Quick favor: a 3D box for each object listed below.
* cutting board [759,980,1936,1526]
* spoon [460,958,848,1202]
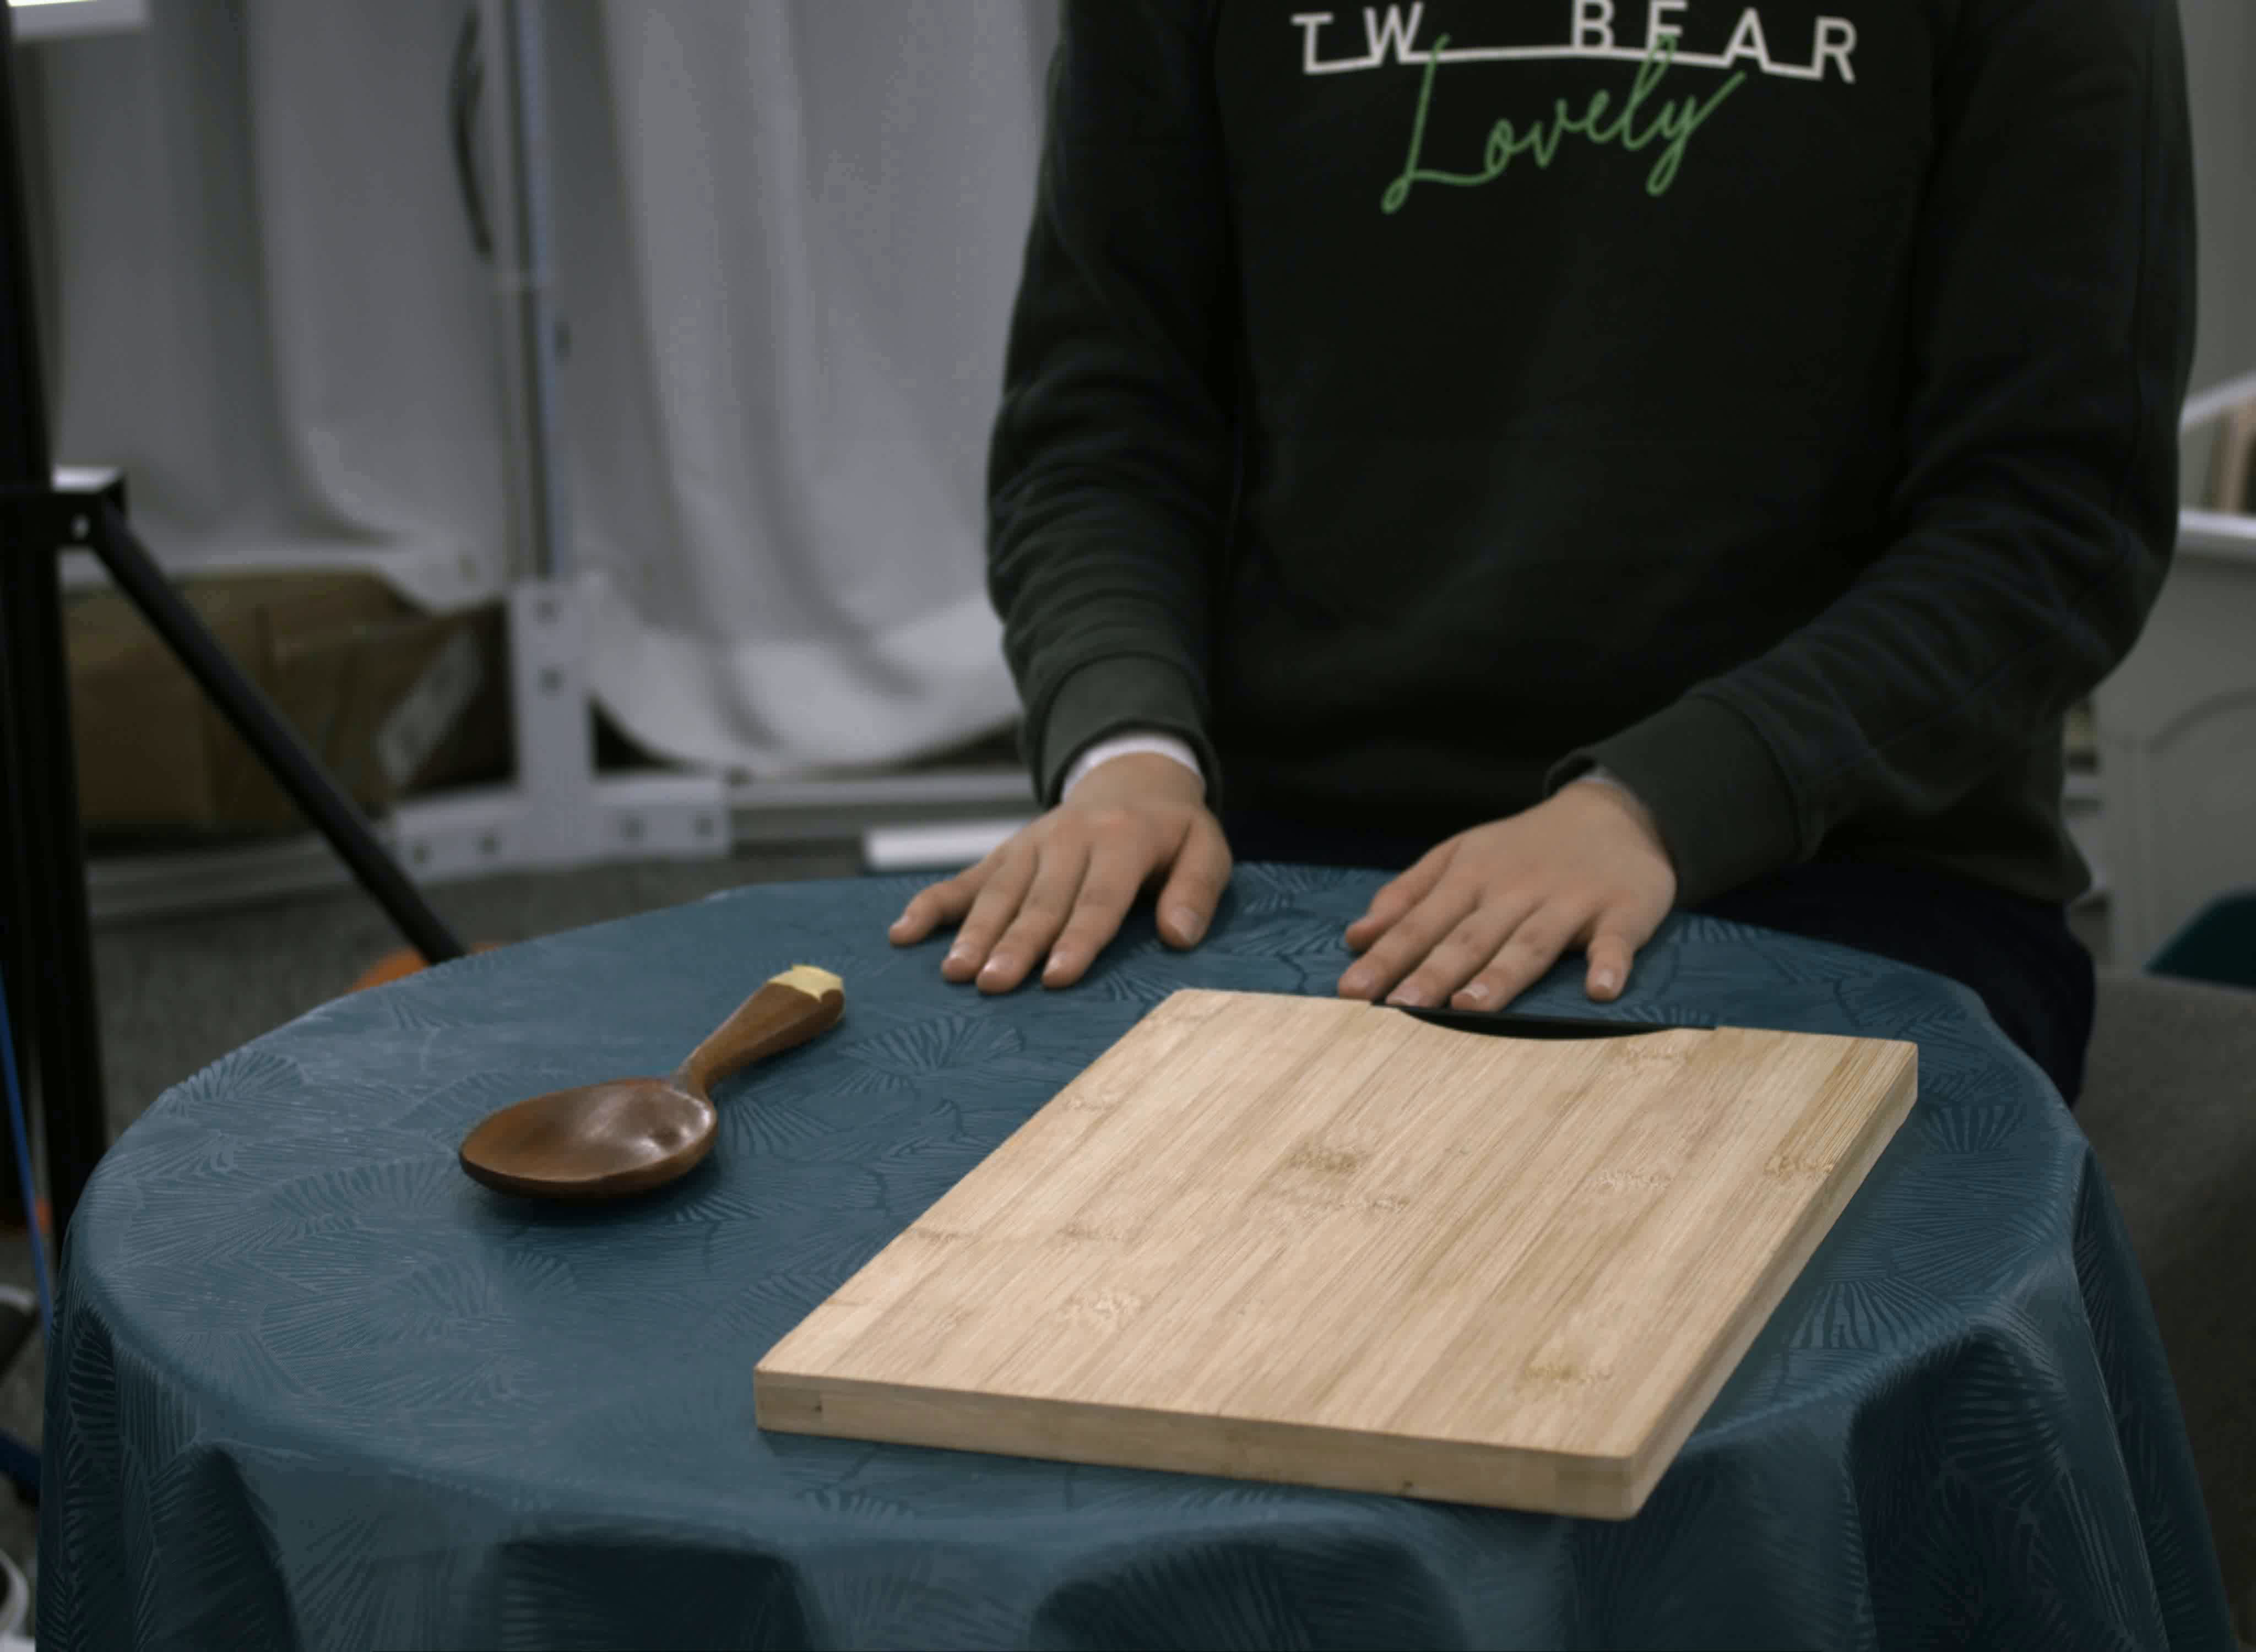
[{"bbox_3d":[0.074,0.112,1.503,0.253,0.023,0.344,4,17,20],"label":"cutting board"},{"bbox_3d":[-0.136,0.080,1.647,0.076,0.017,0.213,3,17,21],"label":"spoon"}]
